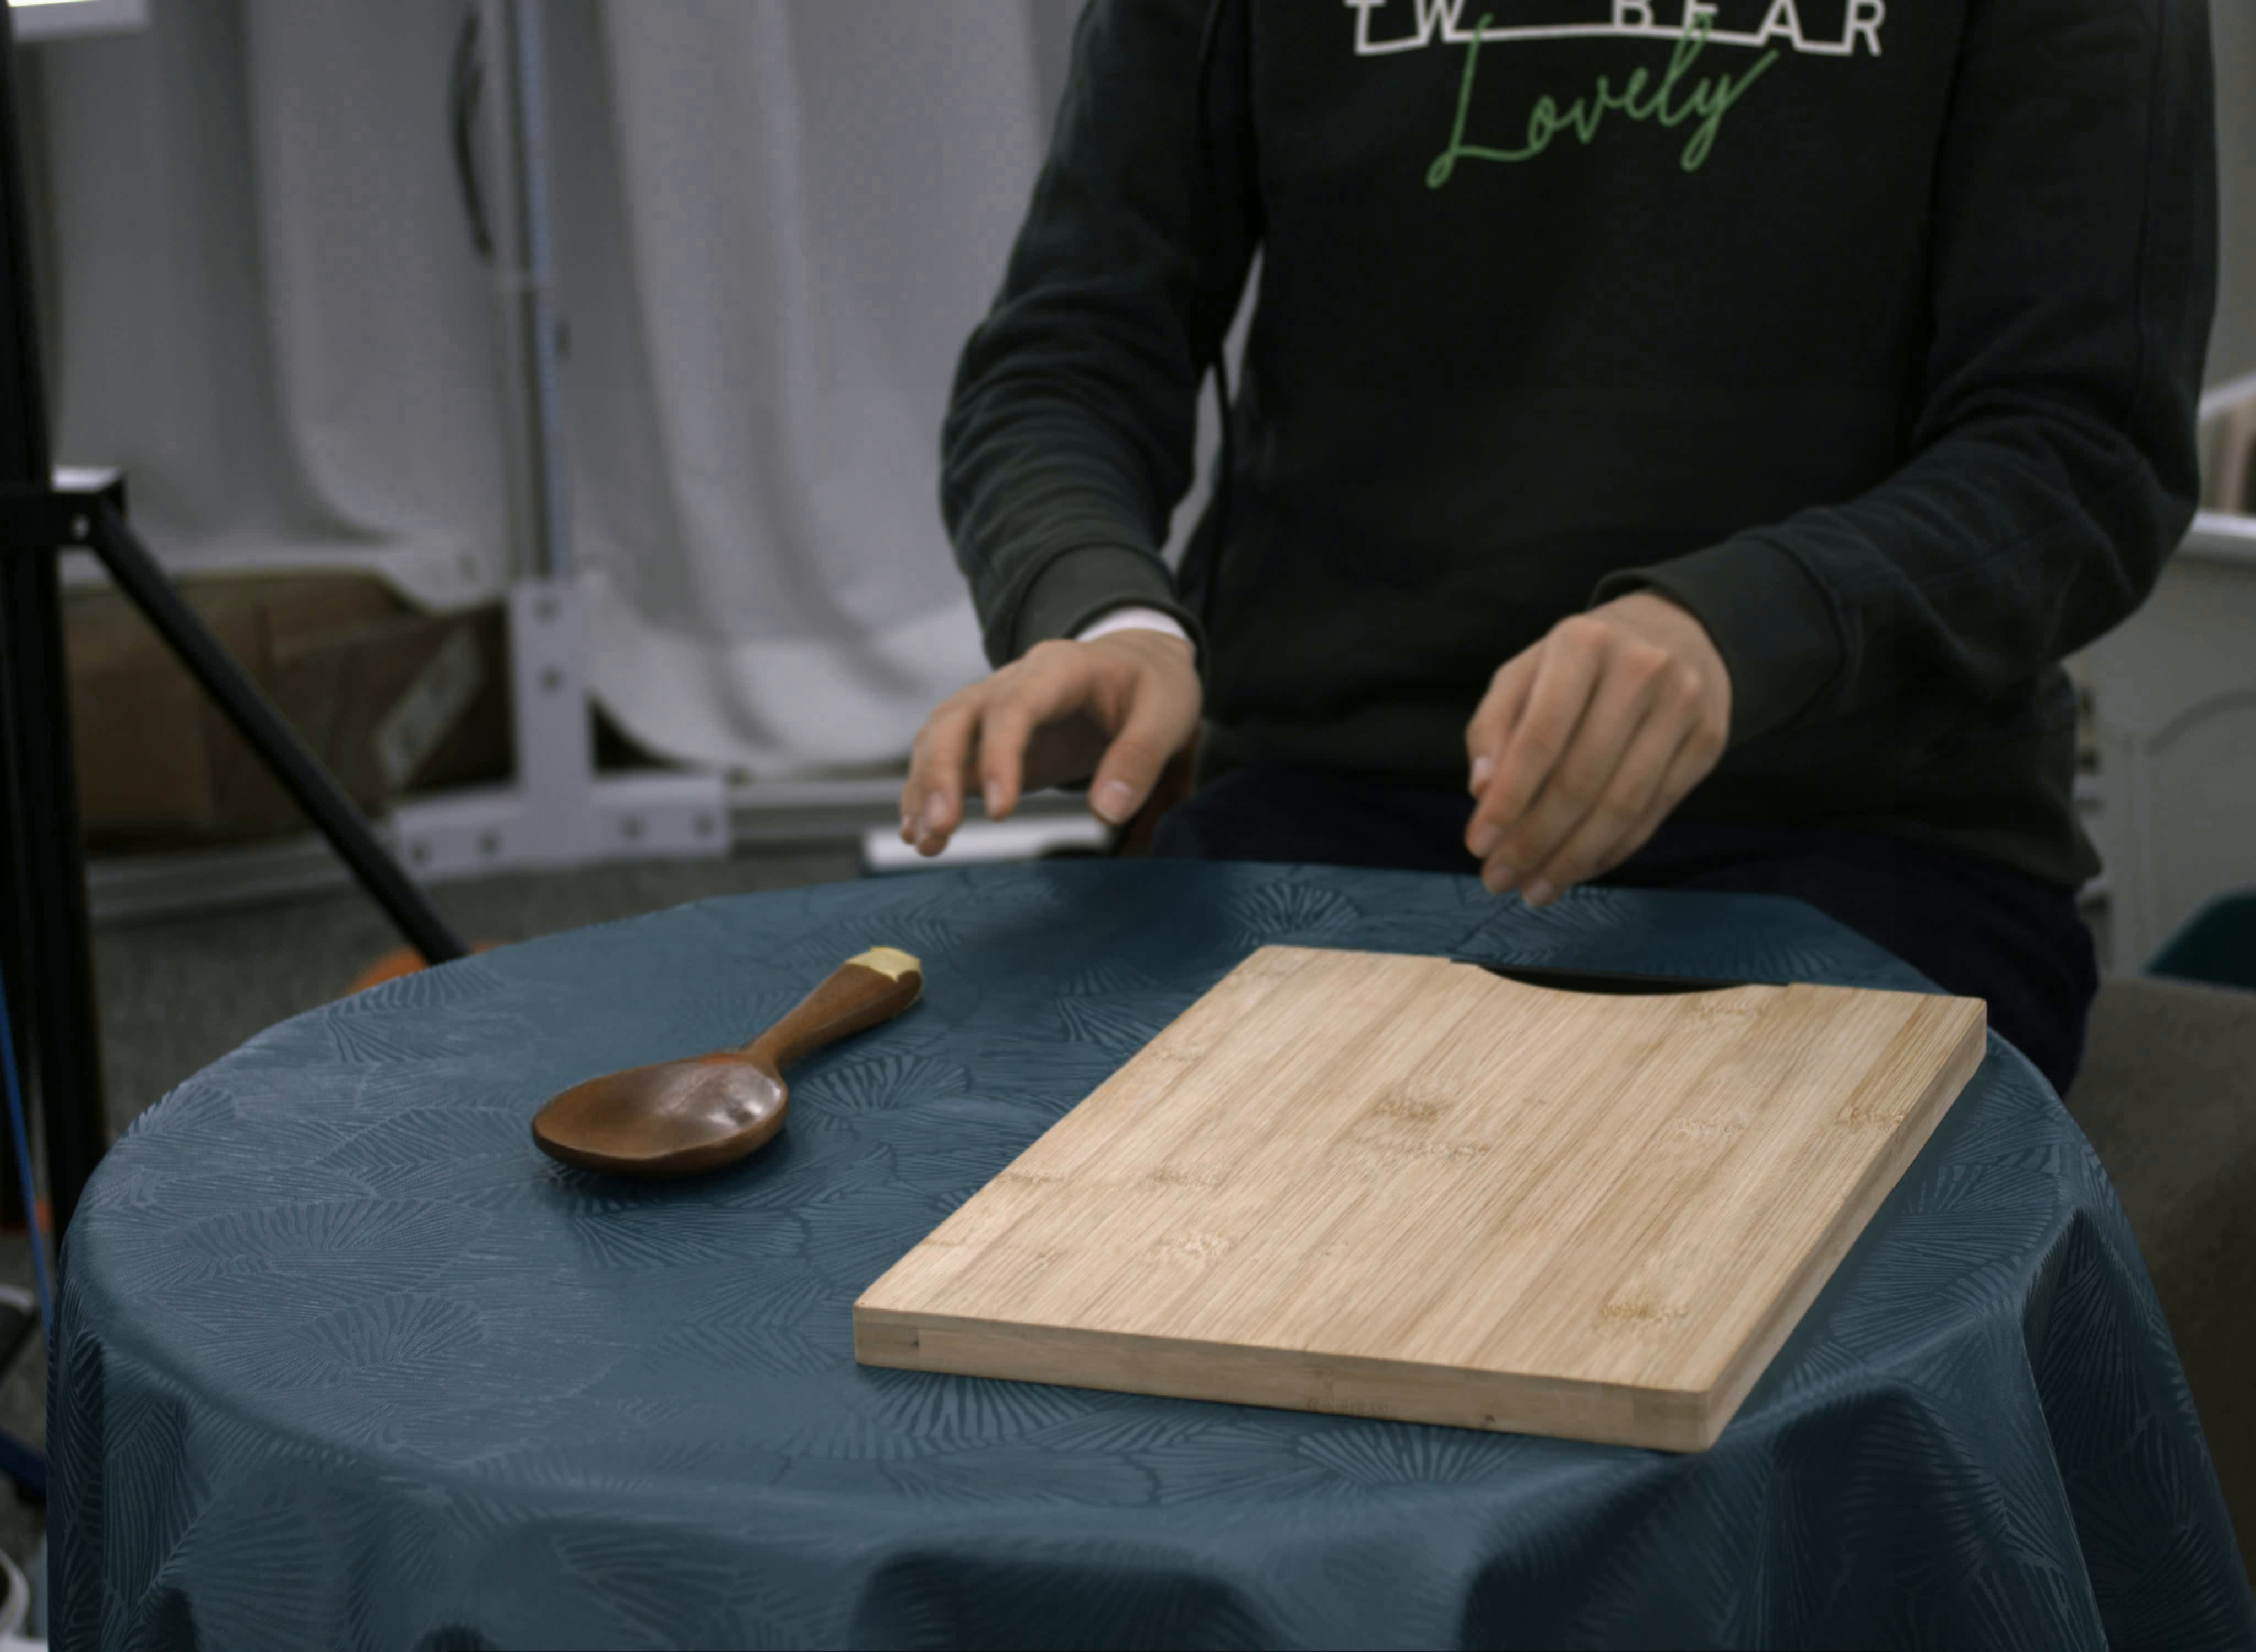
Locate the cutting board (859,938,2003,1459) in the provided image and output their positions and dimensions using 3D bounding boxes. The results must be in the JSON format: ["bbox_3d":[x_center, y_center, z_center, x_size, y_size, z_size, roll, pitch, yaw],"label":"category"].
[{"bbox_3d":[0.099,0.099,1.542,0.254,0.023,0.344,4,17,20],"label":"cutting board"}]

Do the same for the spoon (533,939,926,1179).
[{"bbox_3d":[-0.115,0.074,1.664,0.076,0.017,0.213,2,17,23],"label":"spoon"}]
